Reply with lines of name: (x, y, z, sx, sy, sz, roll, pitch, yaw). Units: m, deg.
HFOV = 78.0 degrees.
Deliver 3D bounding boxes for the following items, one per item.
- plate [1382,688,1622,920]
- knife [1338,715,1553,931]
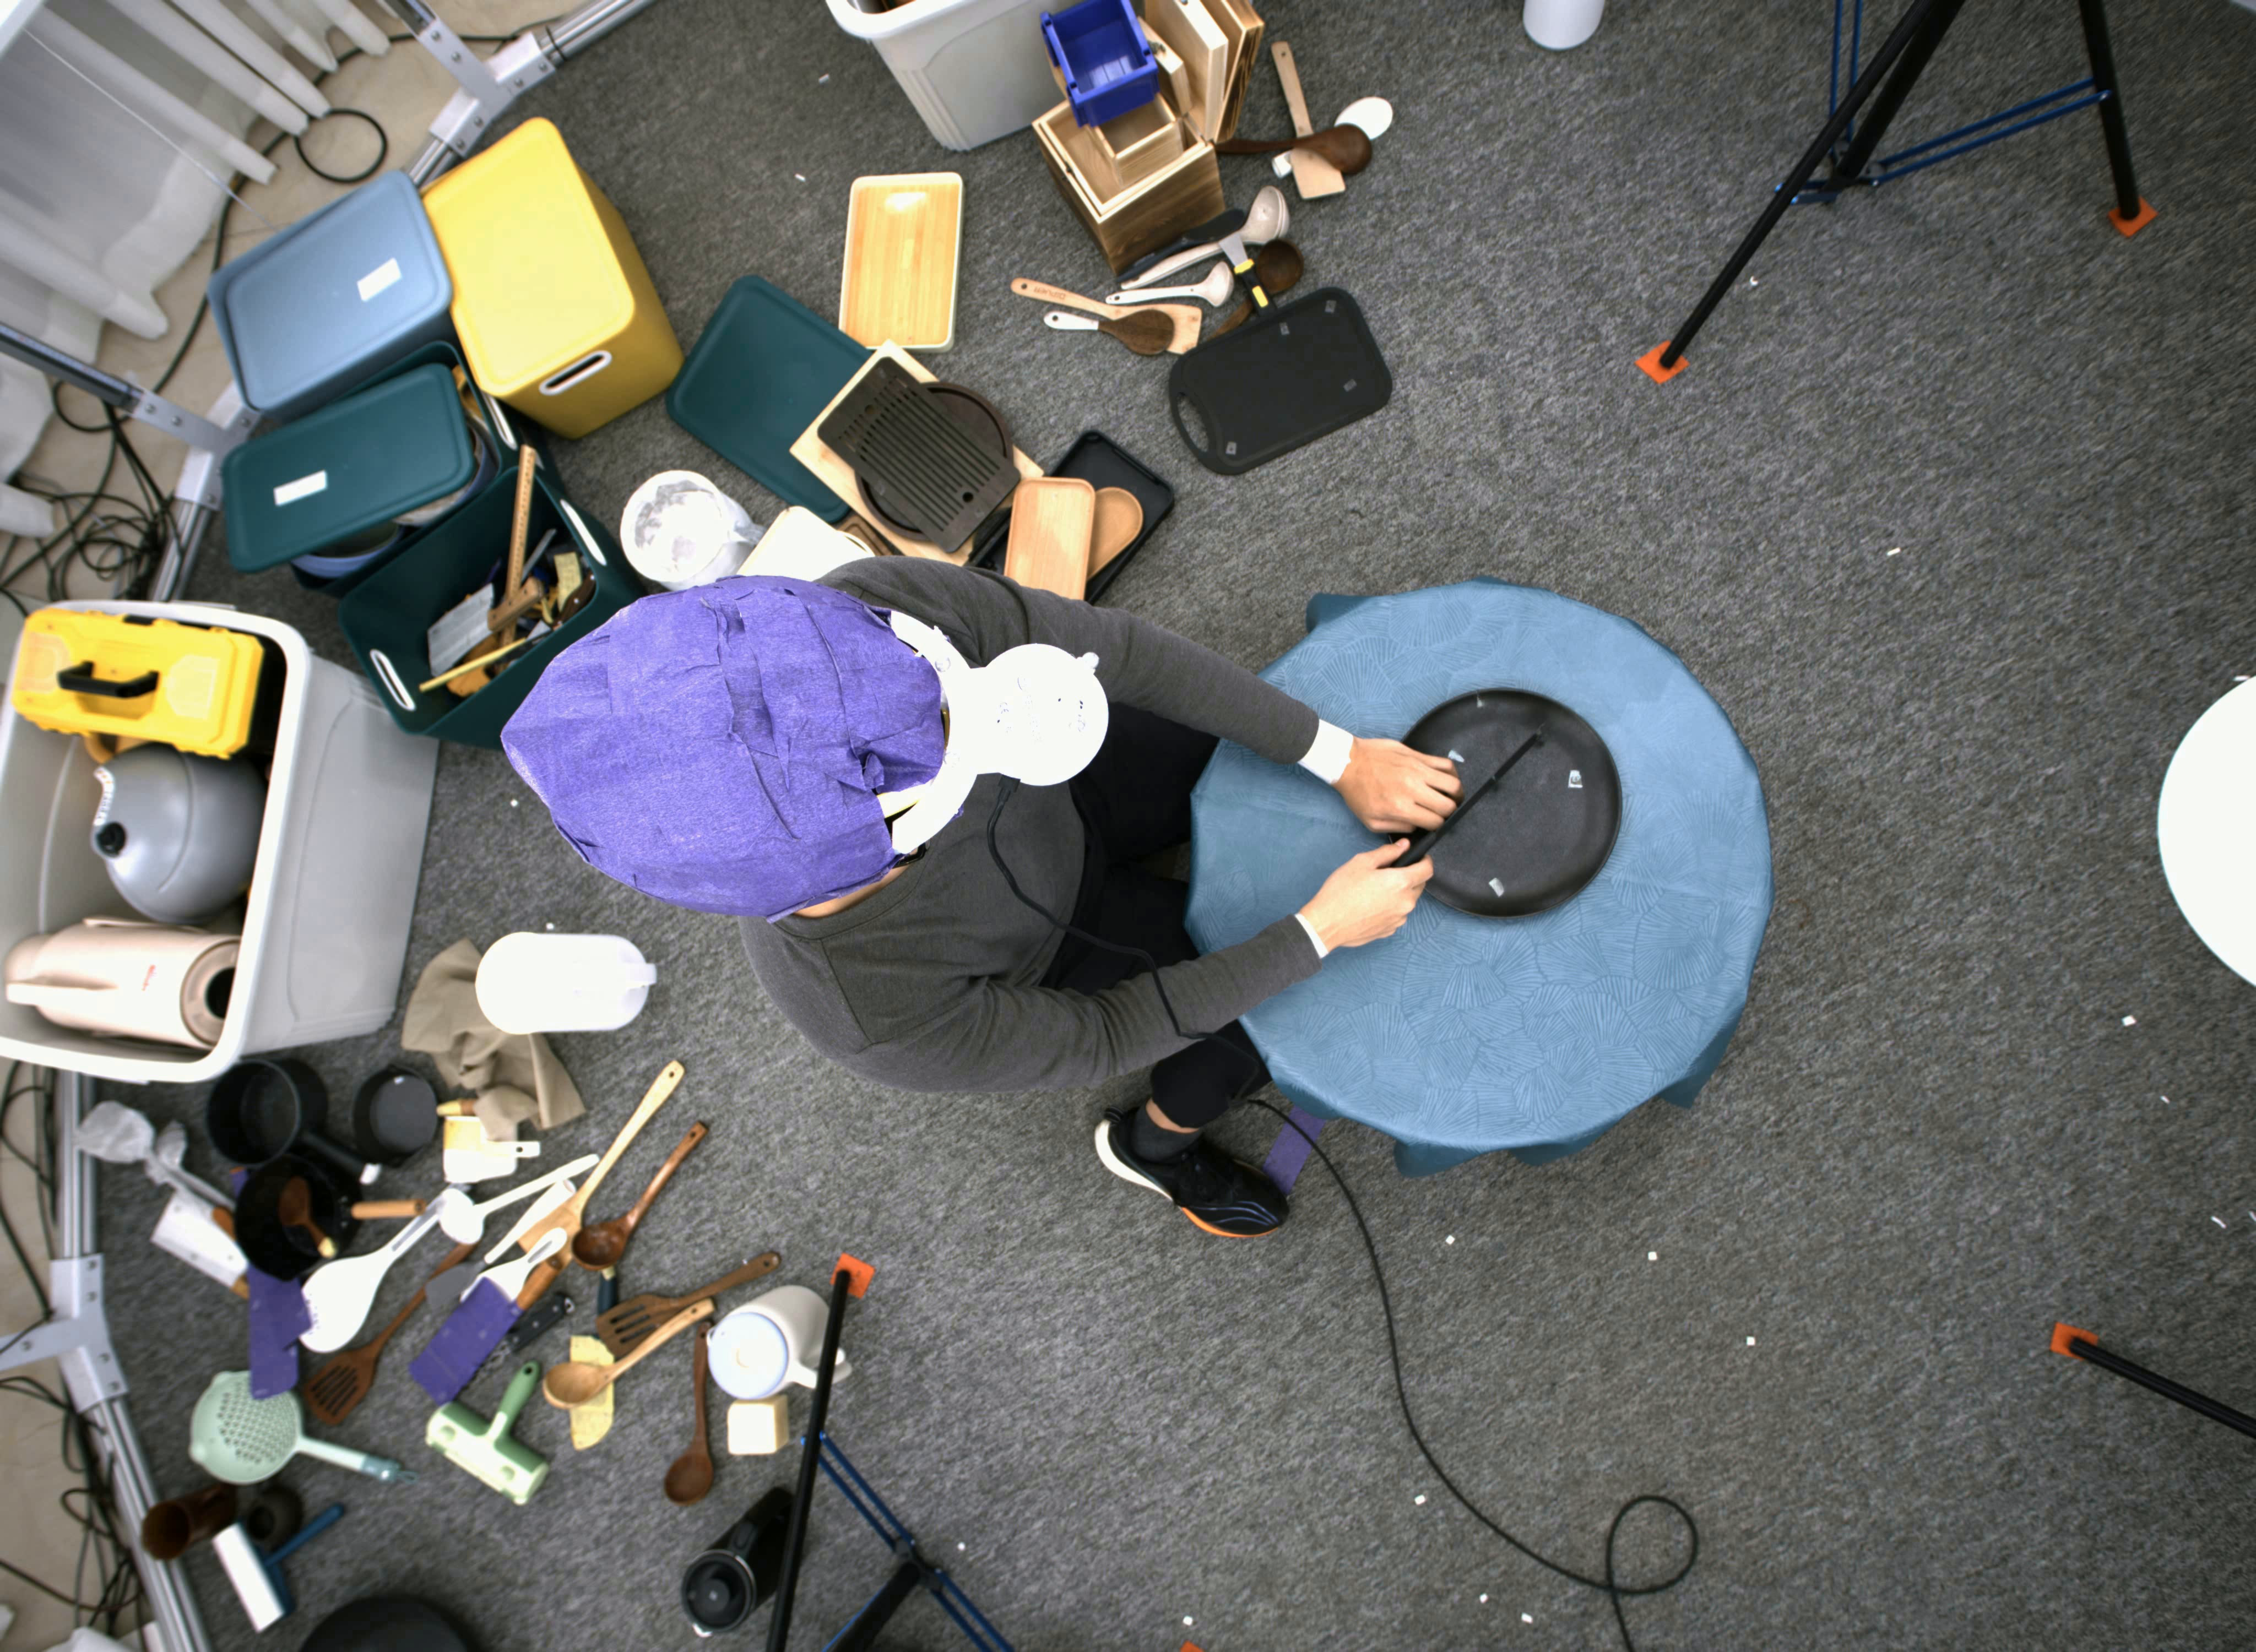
plate: (0.388, -0.025, 1.431, 0.245, 0.023, 0.243, -1, 87, 10)
knife: (0.327, -0.004, 1.405, 0.302, 0.081, 0.020, -44, 74, 1)
